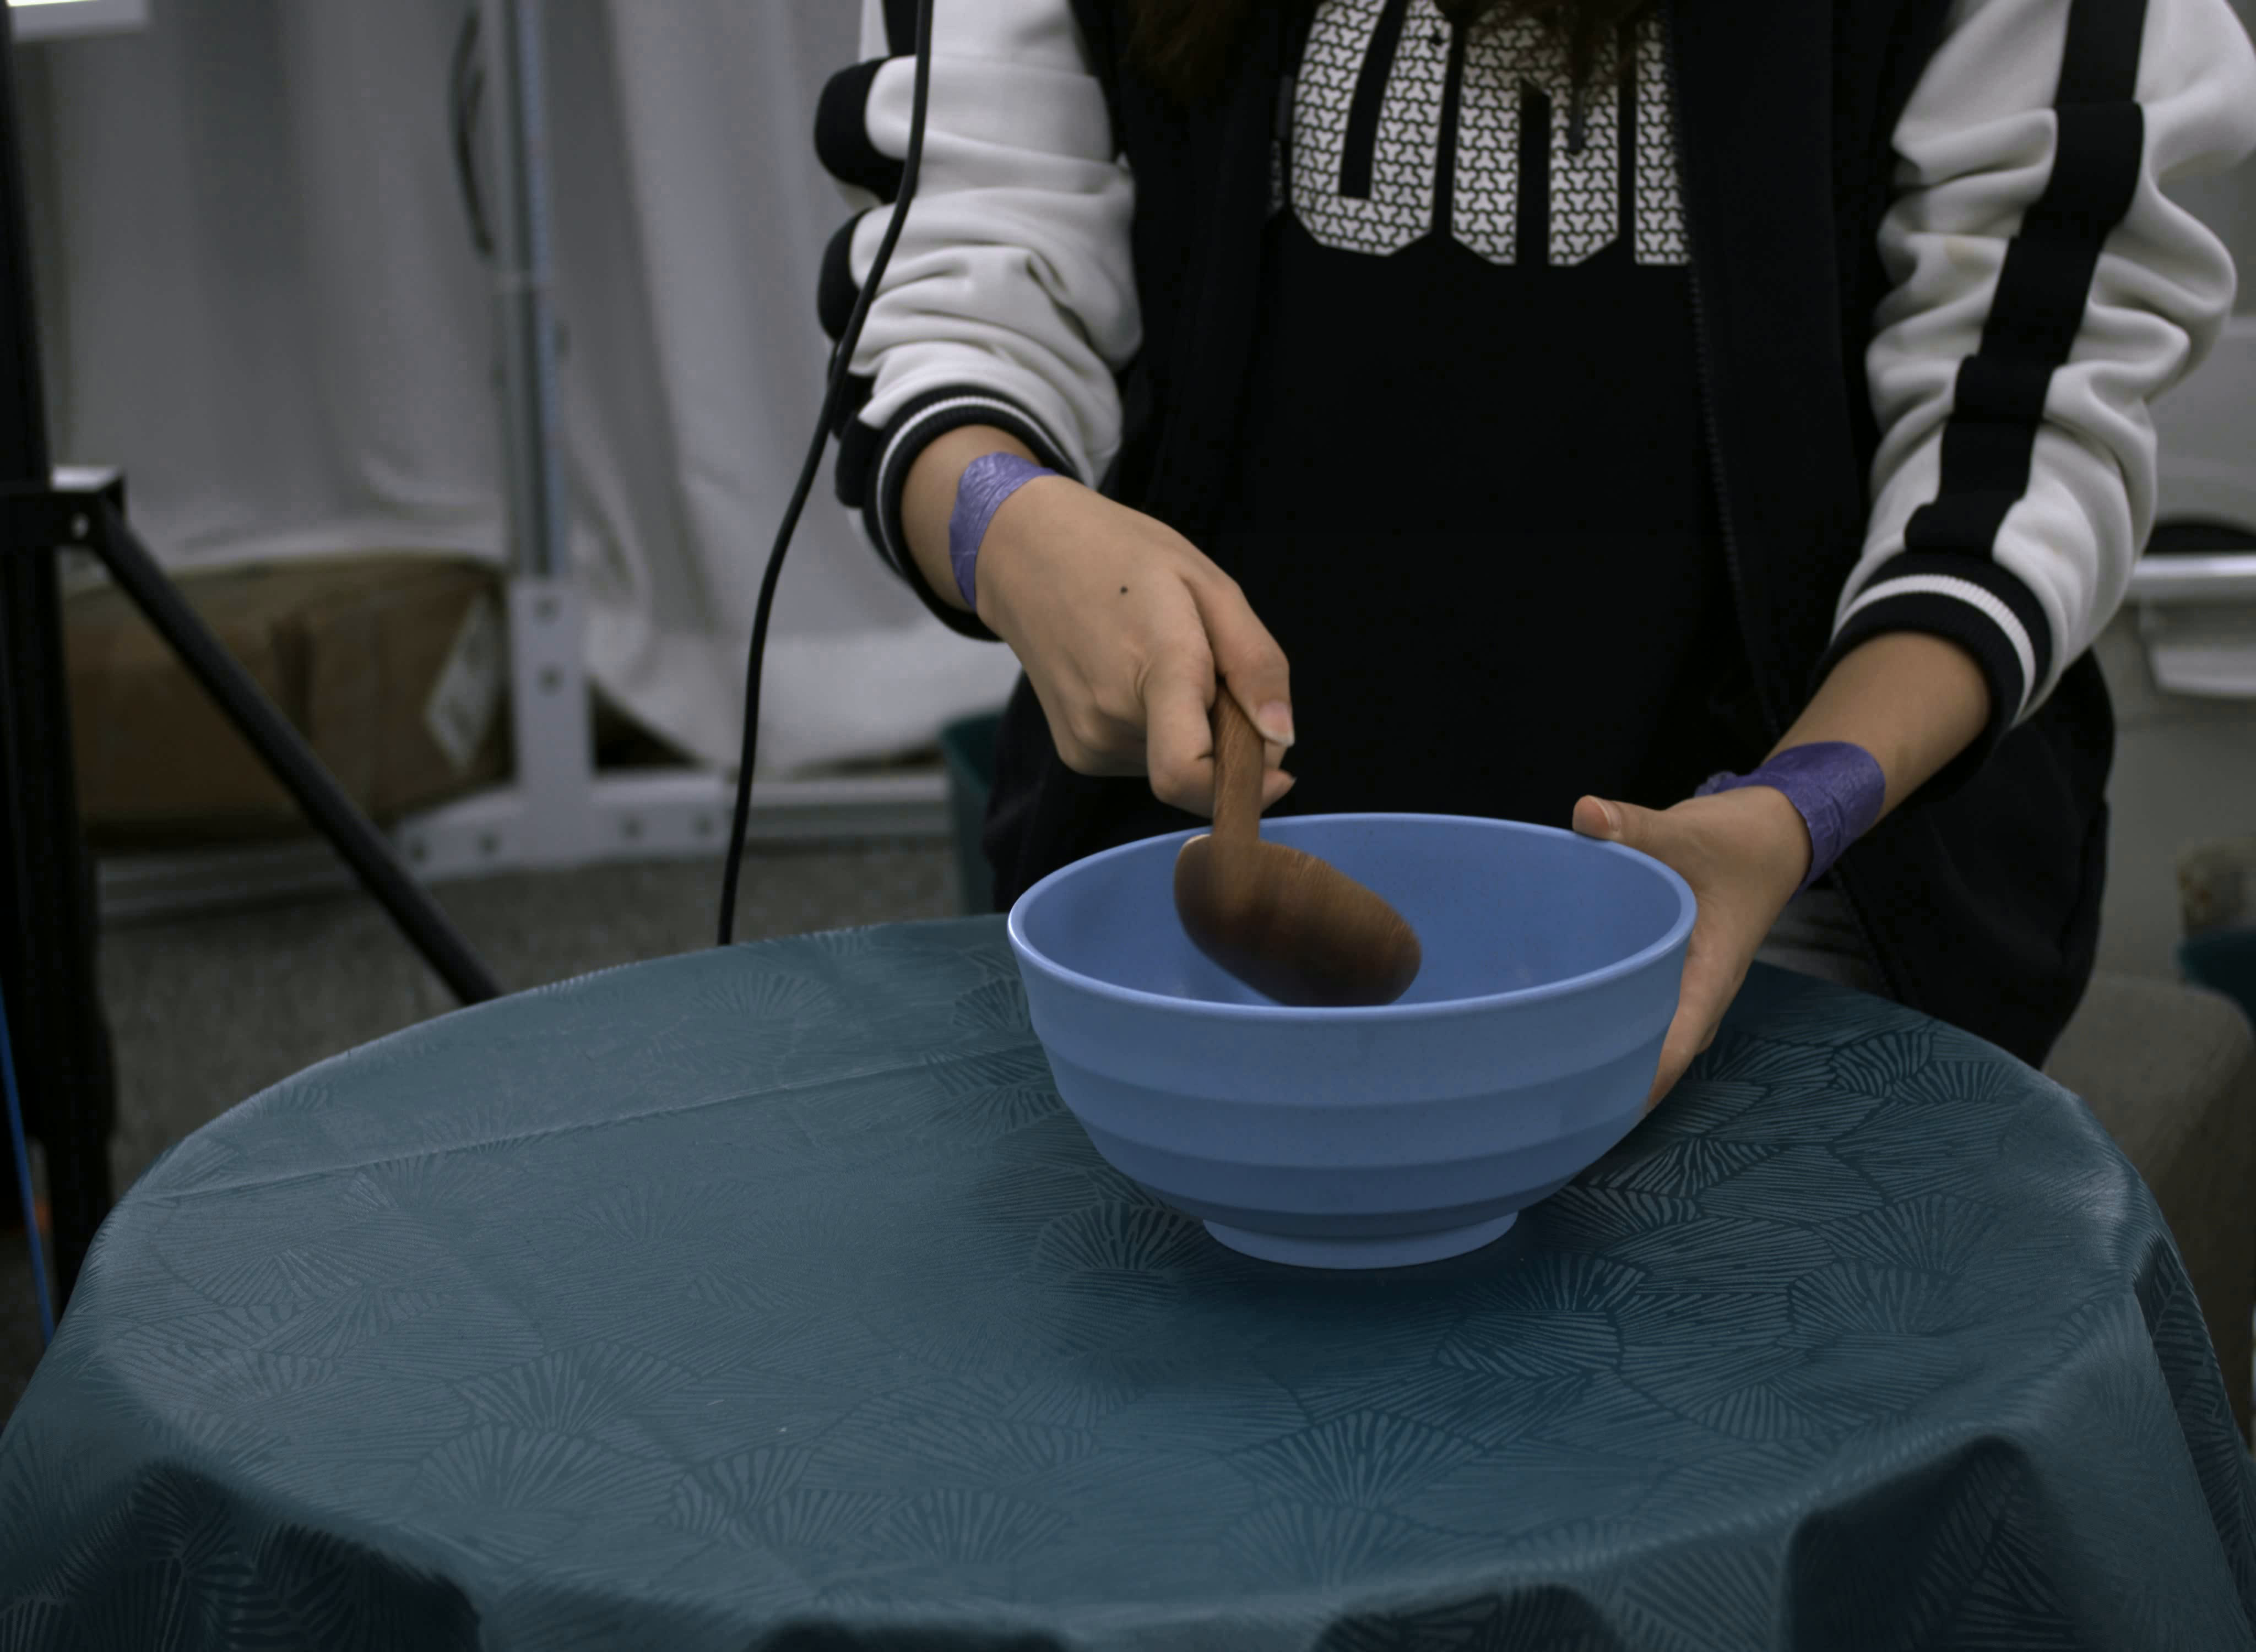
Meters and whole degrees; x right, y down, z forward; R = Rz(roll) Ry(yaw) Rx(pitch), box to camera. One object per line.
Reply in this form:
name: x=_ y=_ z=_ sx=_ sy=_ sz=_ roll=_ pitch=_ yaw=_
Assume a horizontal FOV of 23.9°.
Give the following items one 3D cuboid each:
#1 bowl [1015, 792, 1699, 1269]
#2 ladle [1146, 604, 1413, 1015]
bowl: x=0.071 y=0.066 z=1.522 sx=0.196 sy=0.095 sz=0.197 roll=-8 pitch=17 yaw=1
ladle: x=0.039 y=-0.017 z=1.576 sx=0.065 sy=0.075 sz=0.262 roll=-42 pitch=22 yaw=18
